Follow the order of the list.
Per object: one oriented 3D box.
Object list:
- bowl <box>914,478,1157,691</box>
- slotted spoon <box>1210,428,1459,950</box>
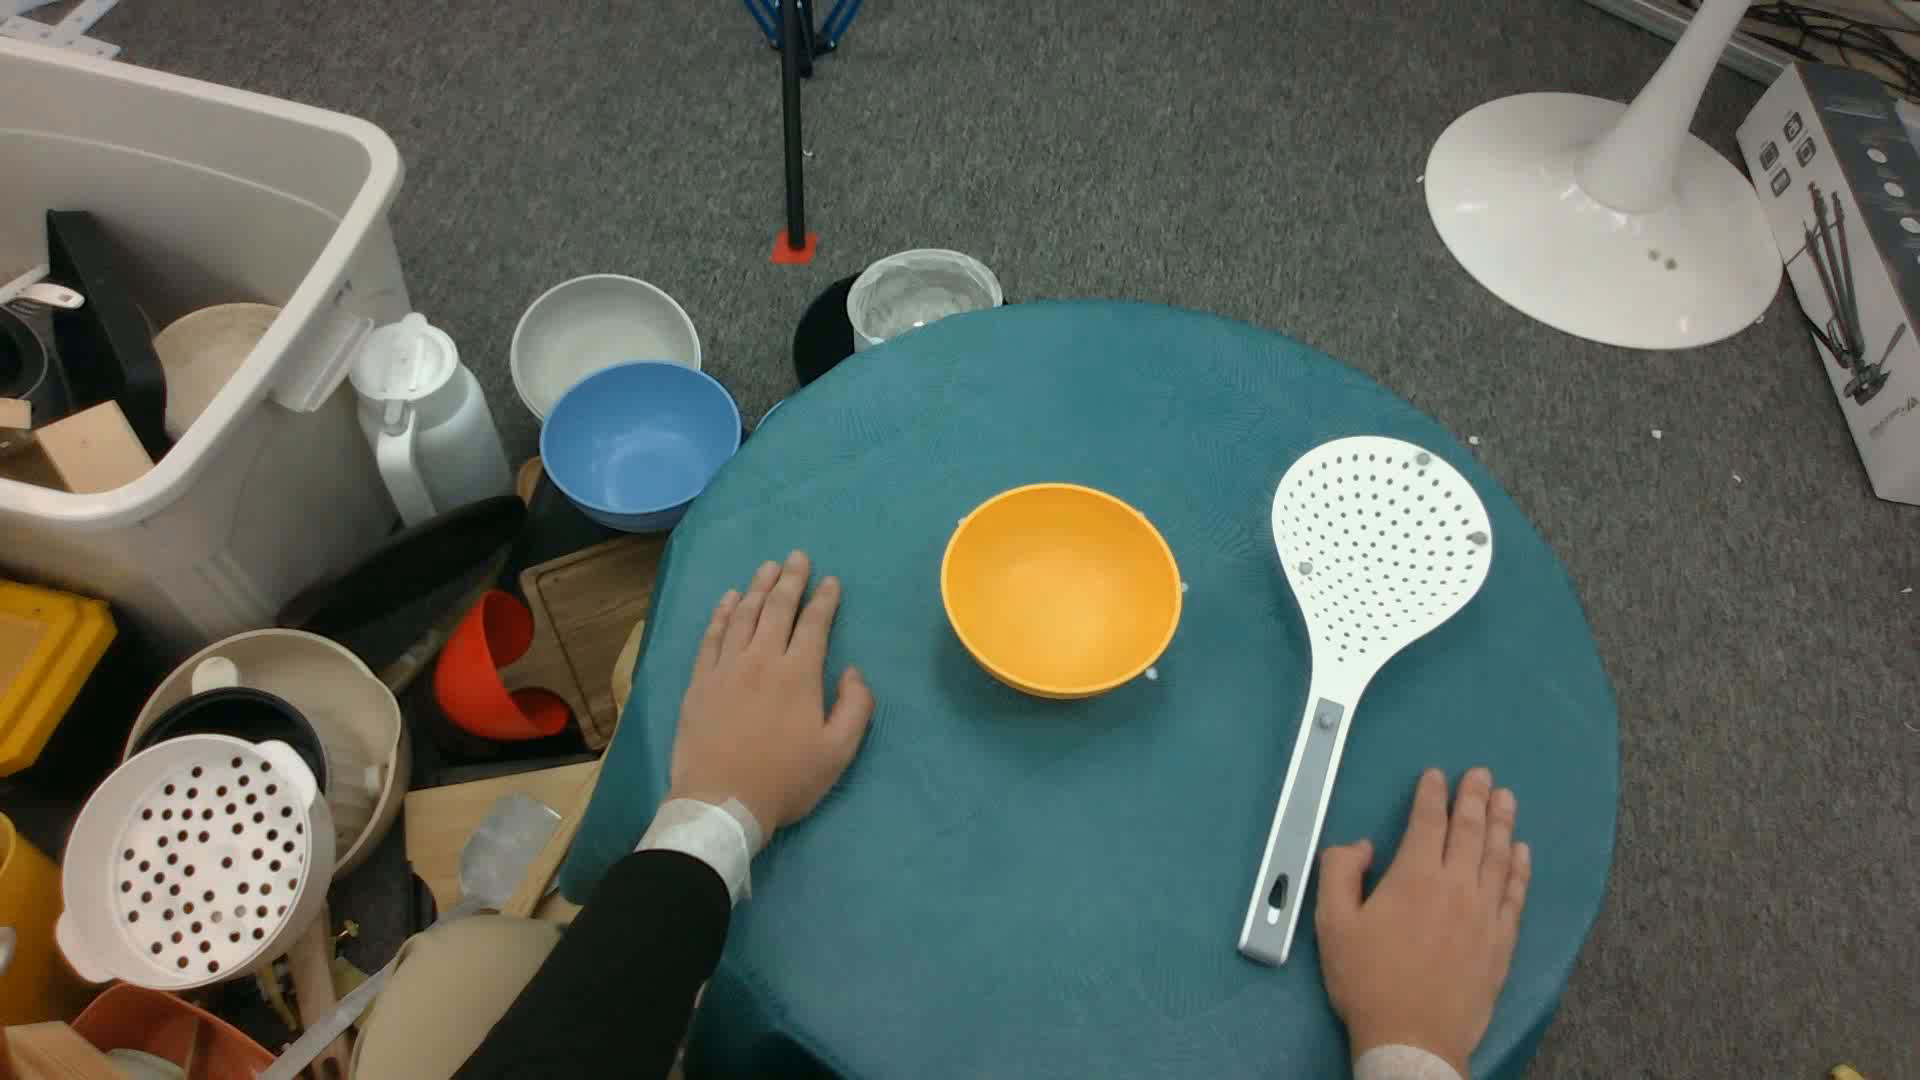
[{"bbox_3d":[0.043,0.037,0.840,0.145,0.060,0.146,2,56,-3],"label":"bowl"},{"bbox_3d":[0.212,0.079,0.835,0.136,0.045,0.351,19,59,8],"label":"slotted spoon"}]
